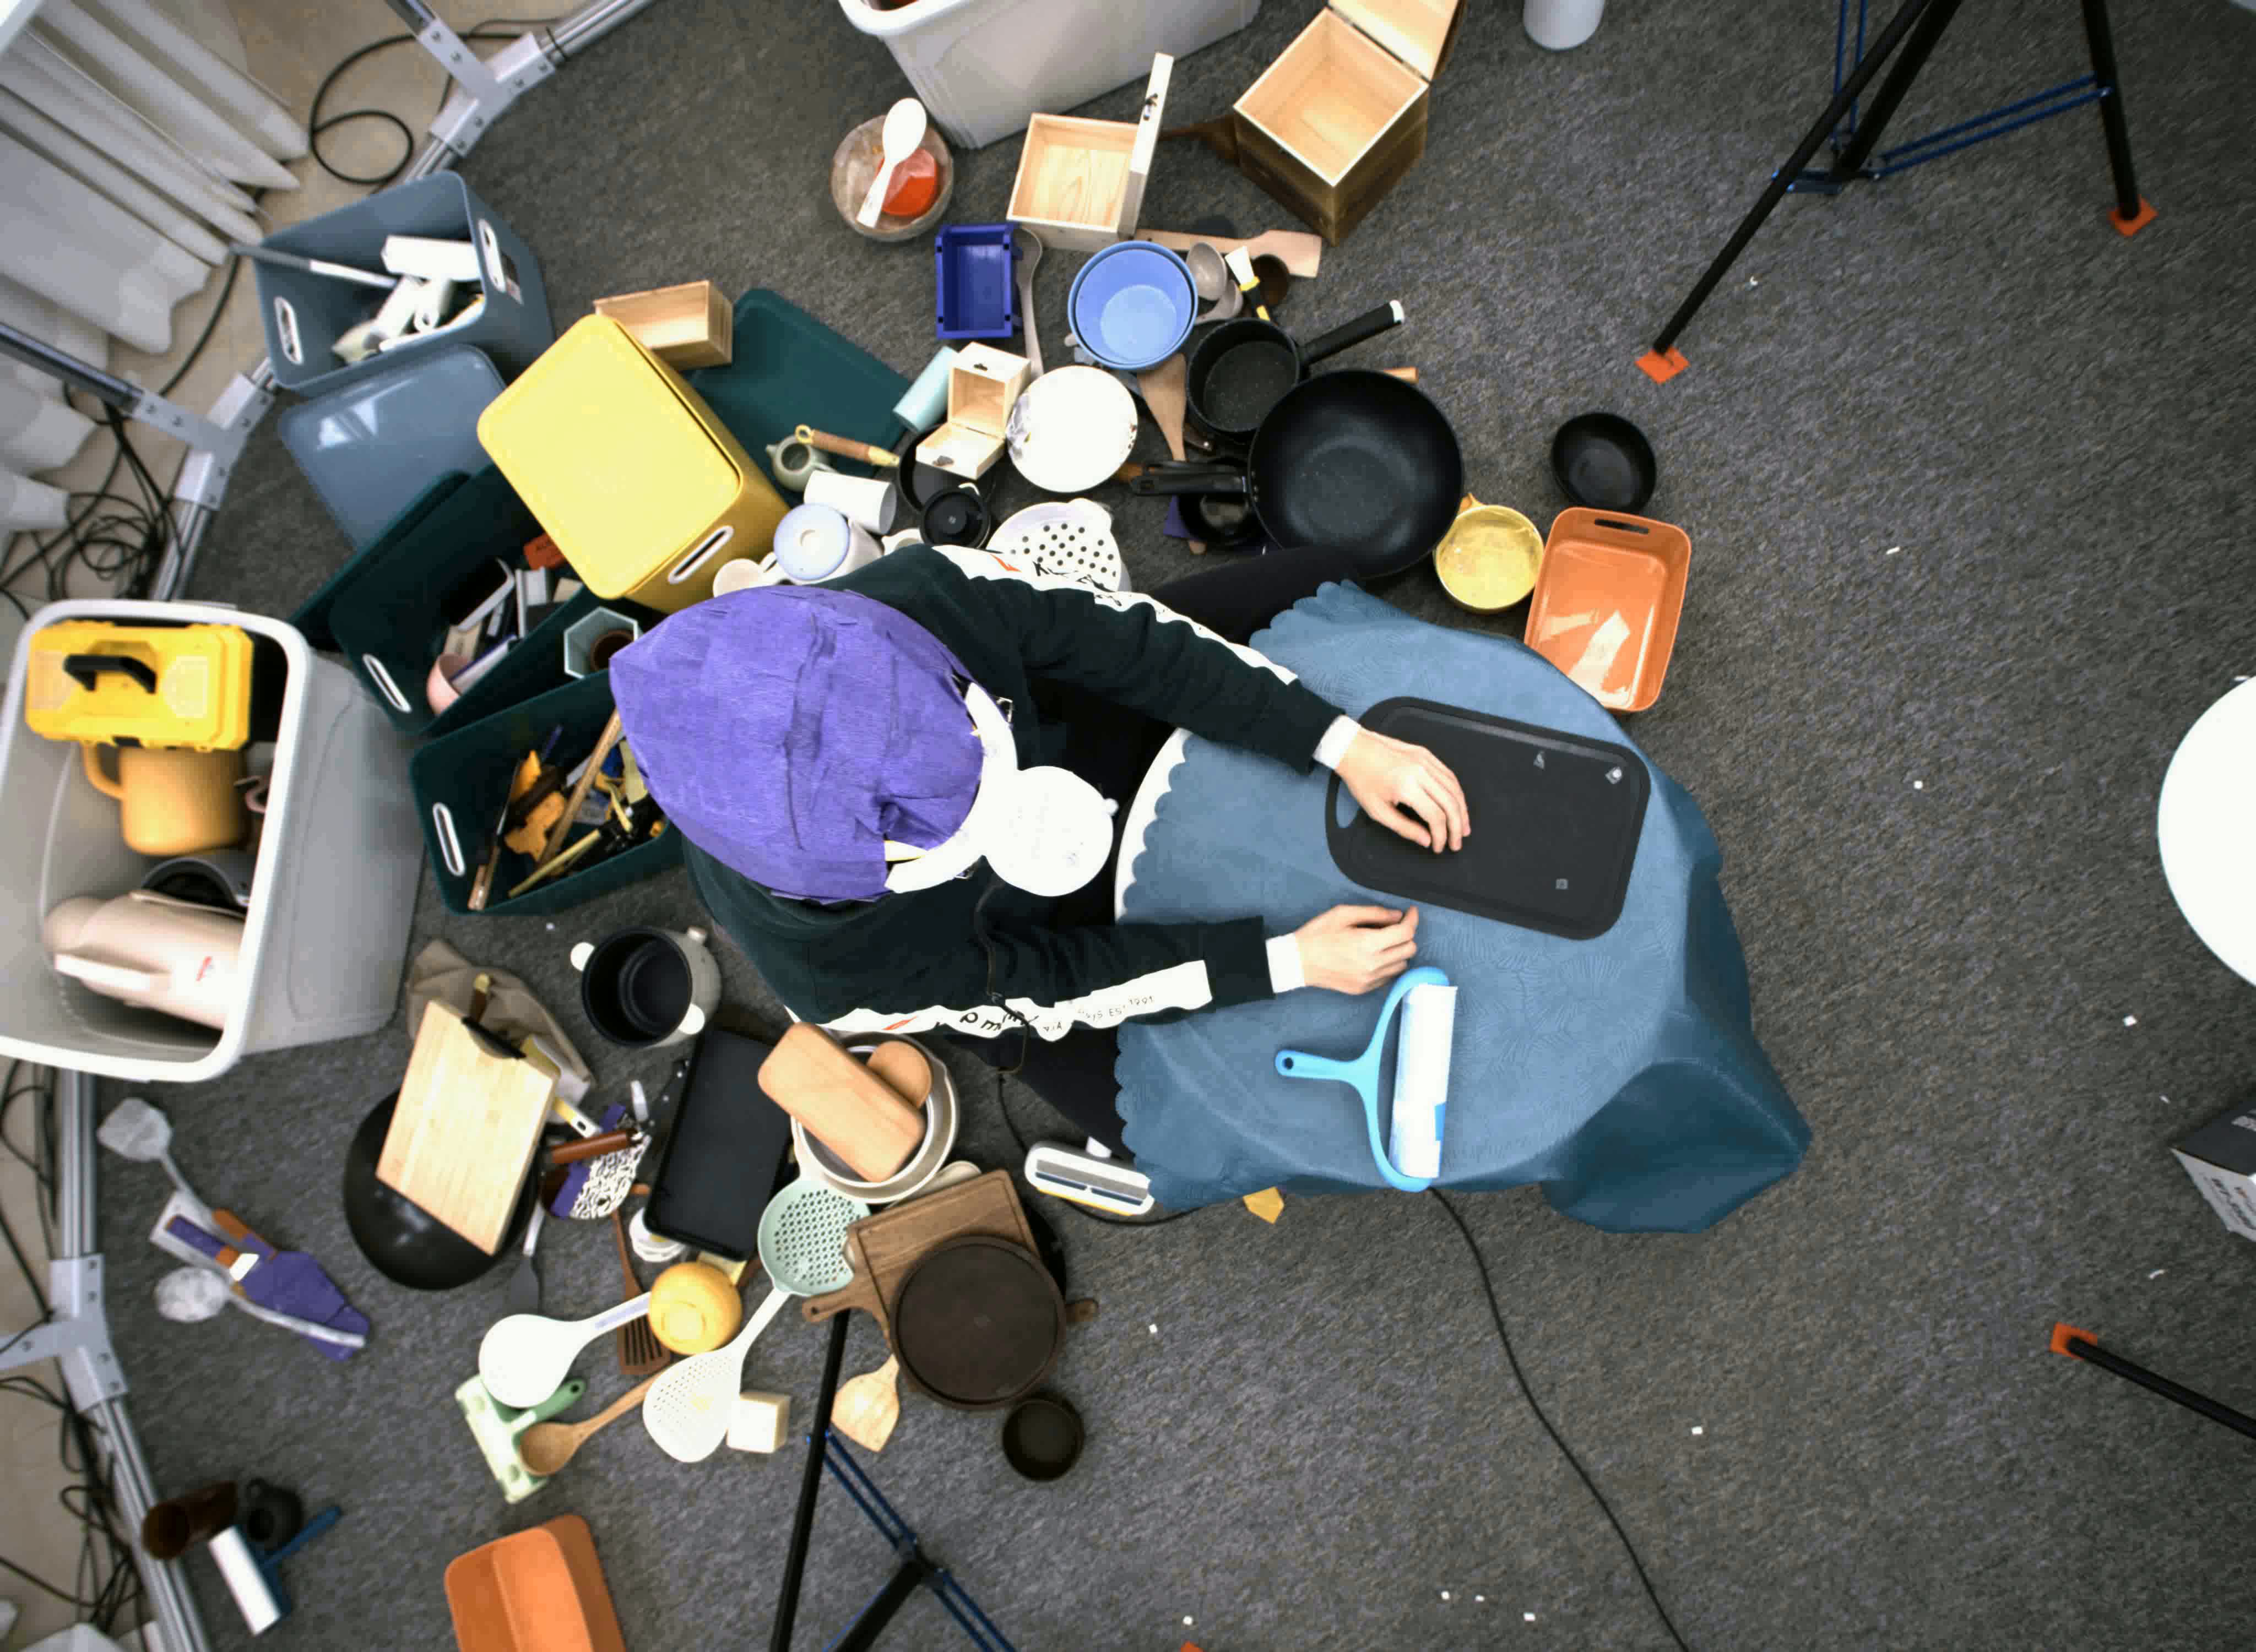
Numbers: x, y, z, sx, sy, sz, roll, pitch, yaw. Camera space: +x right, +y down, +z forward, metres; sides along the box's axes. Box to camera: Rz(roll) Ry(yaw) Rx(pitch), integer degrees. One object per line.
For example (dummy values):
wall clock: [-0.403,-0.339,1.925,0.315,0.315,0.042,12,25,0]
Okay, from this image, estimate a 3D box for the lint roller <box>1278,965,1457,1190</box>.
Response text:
lint roller: [0.243,0.253,1.422,0.181,0.068,0.228,2,89,9]

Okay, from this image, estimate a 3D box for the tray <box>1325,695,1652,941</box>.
tray: [0.369,-0.015,1.438,0.326,0.010,0.211,15,90,11]
